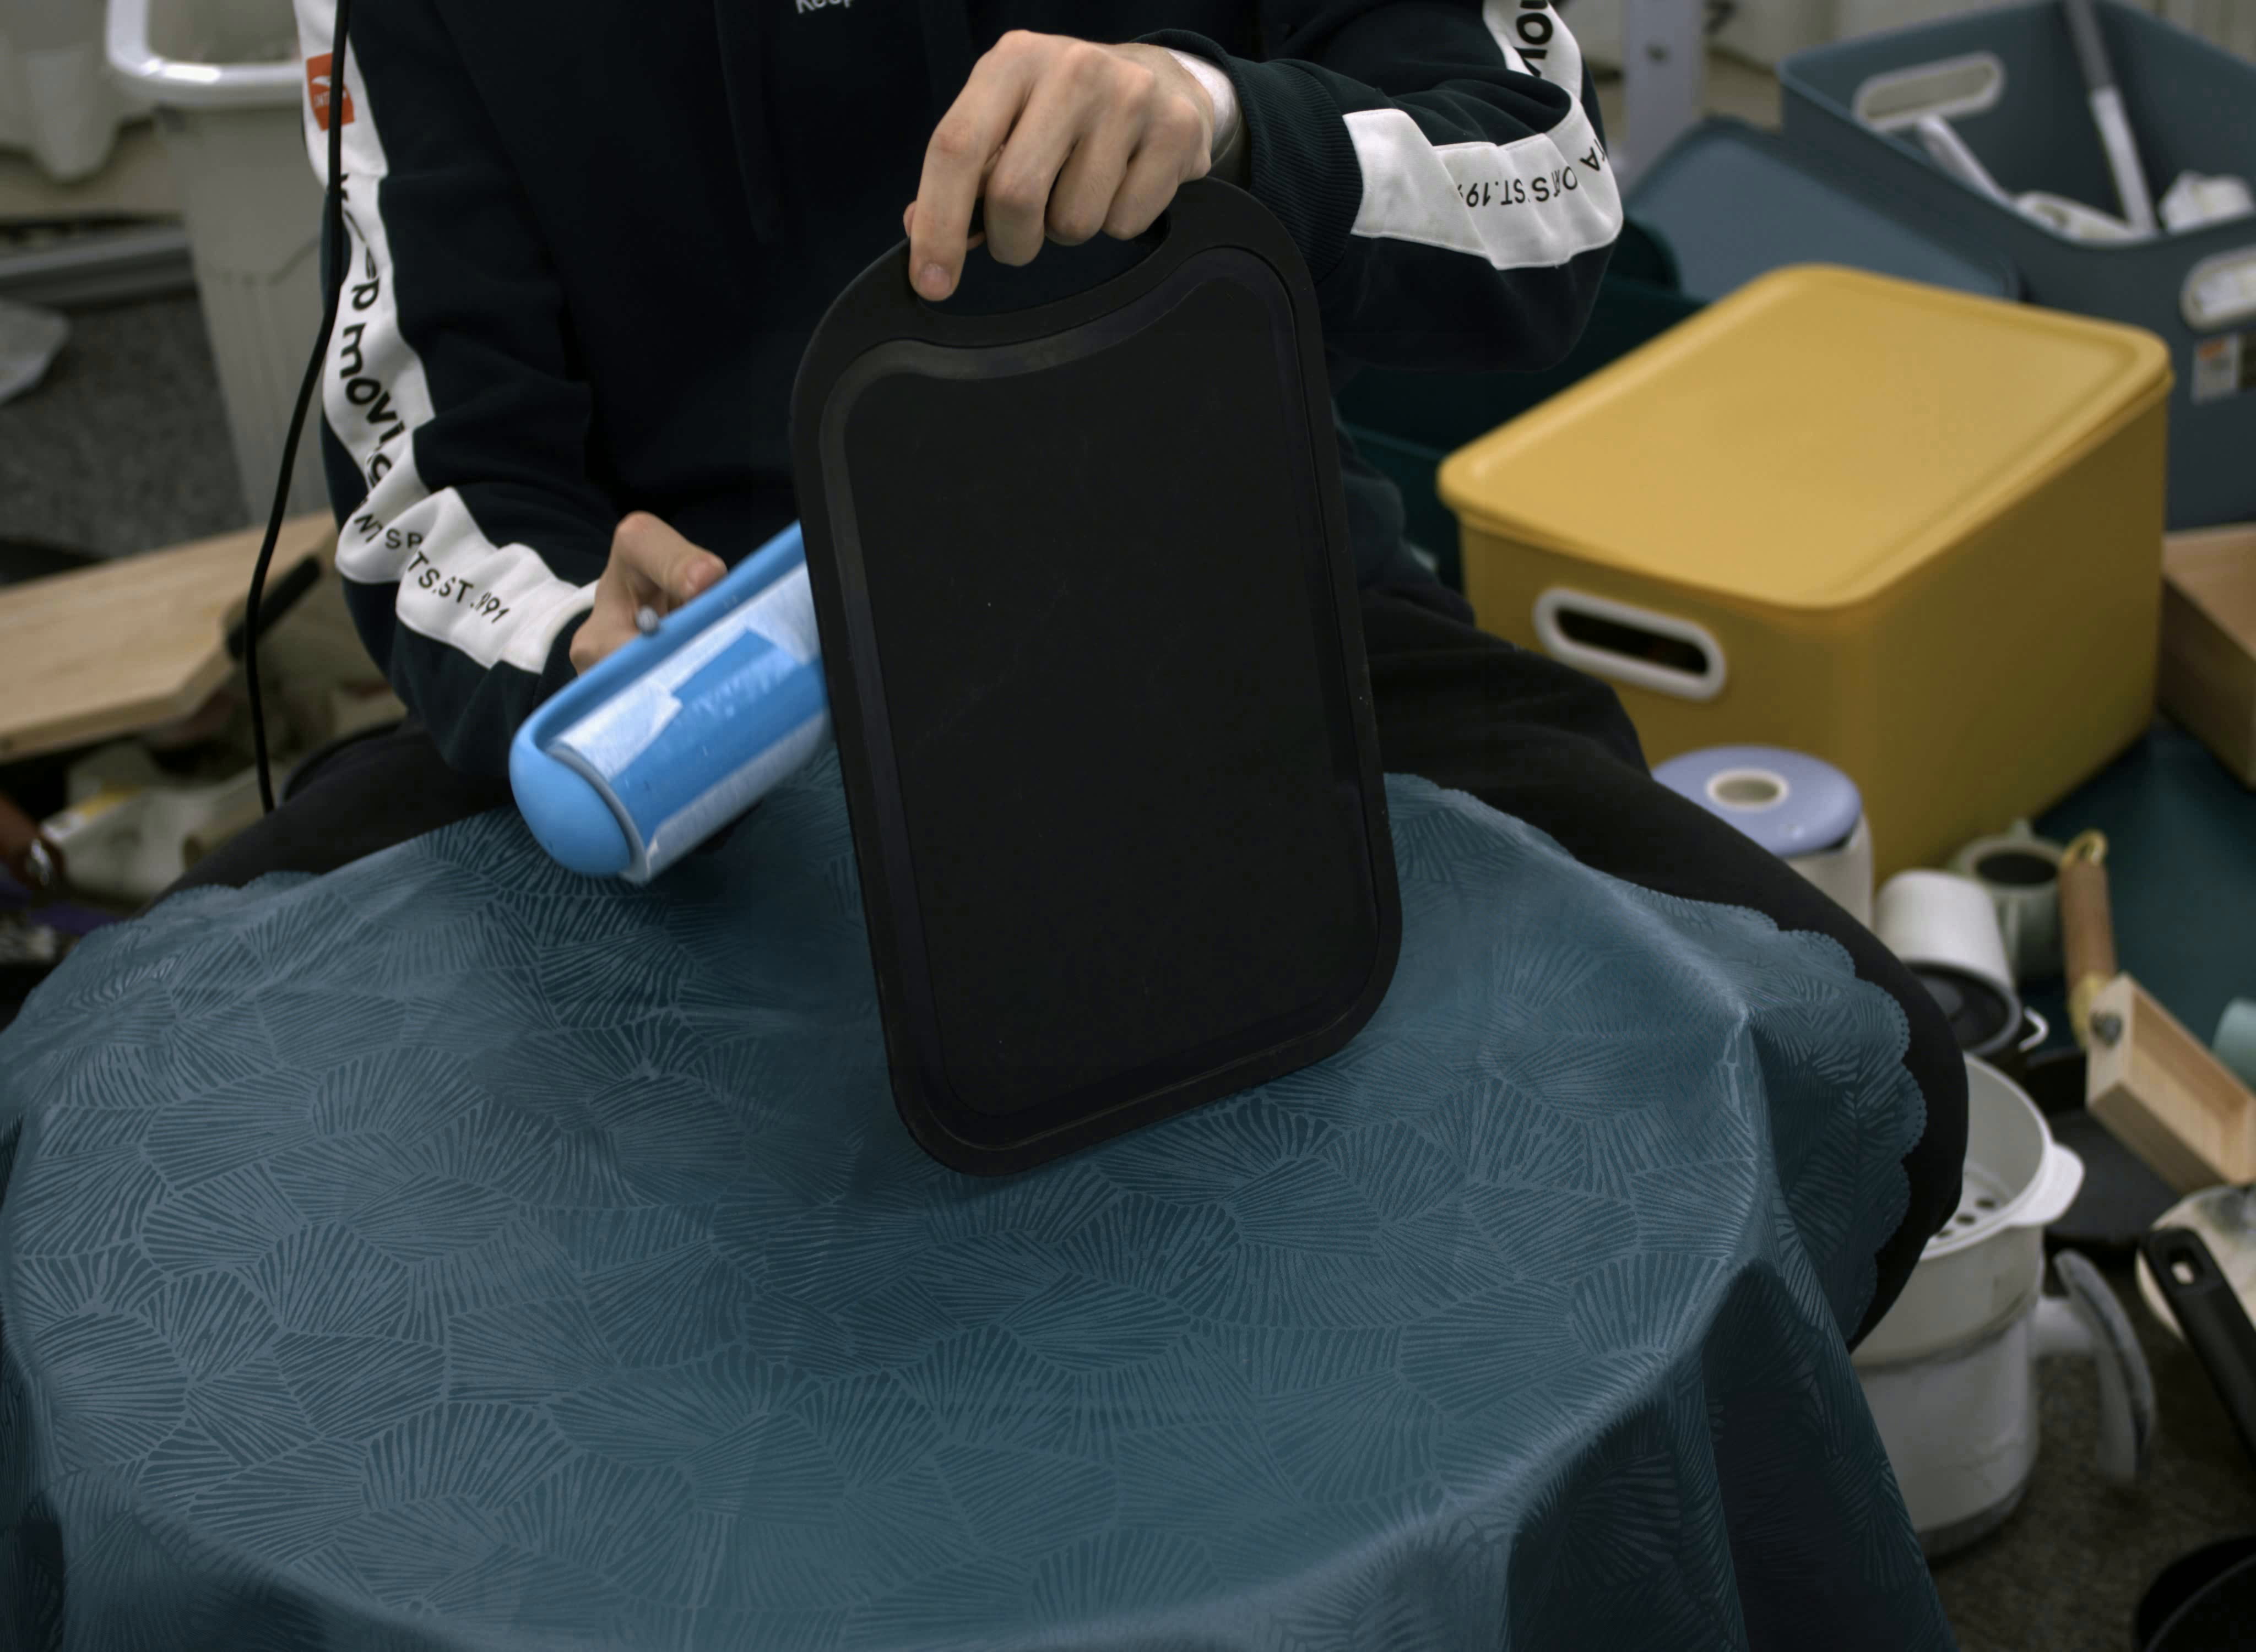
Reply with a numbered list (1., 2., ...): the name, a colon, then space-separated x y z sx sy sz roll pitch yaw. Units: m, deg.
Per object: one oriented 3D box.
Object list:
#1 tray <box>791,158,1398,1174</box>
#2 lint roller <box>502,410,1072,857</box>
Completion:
1. tray: -0.008 -0.055 1.855 0.213 0.324 0.010 -17 17 -32
2. lint roller: -0.129 -0.060 1.874 0.232 0.068 0.178 -42 9 -26
